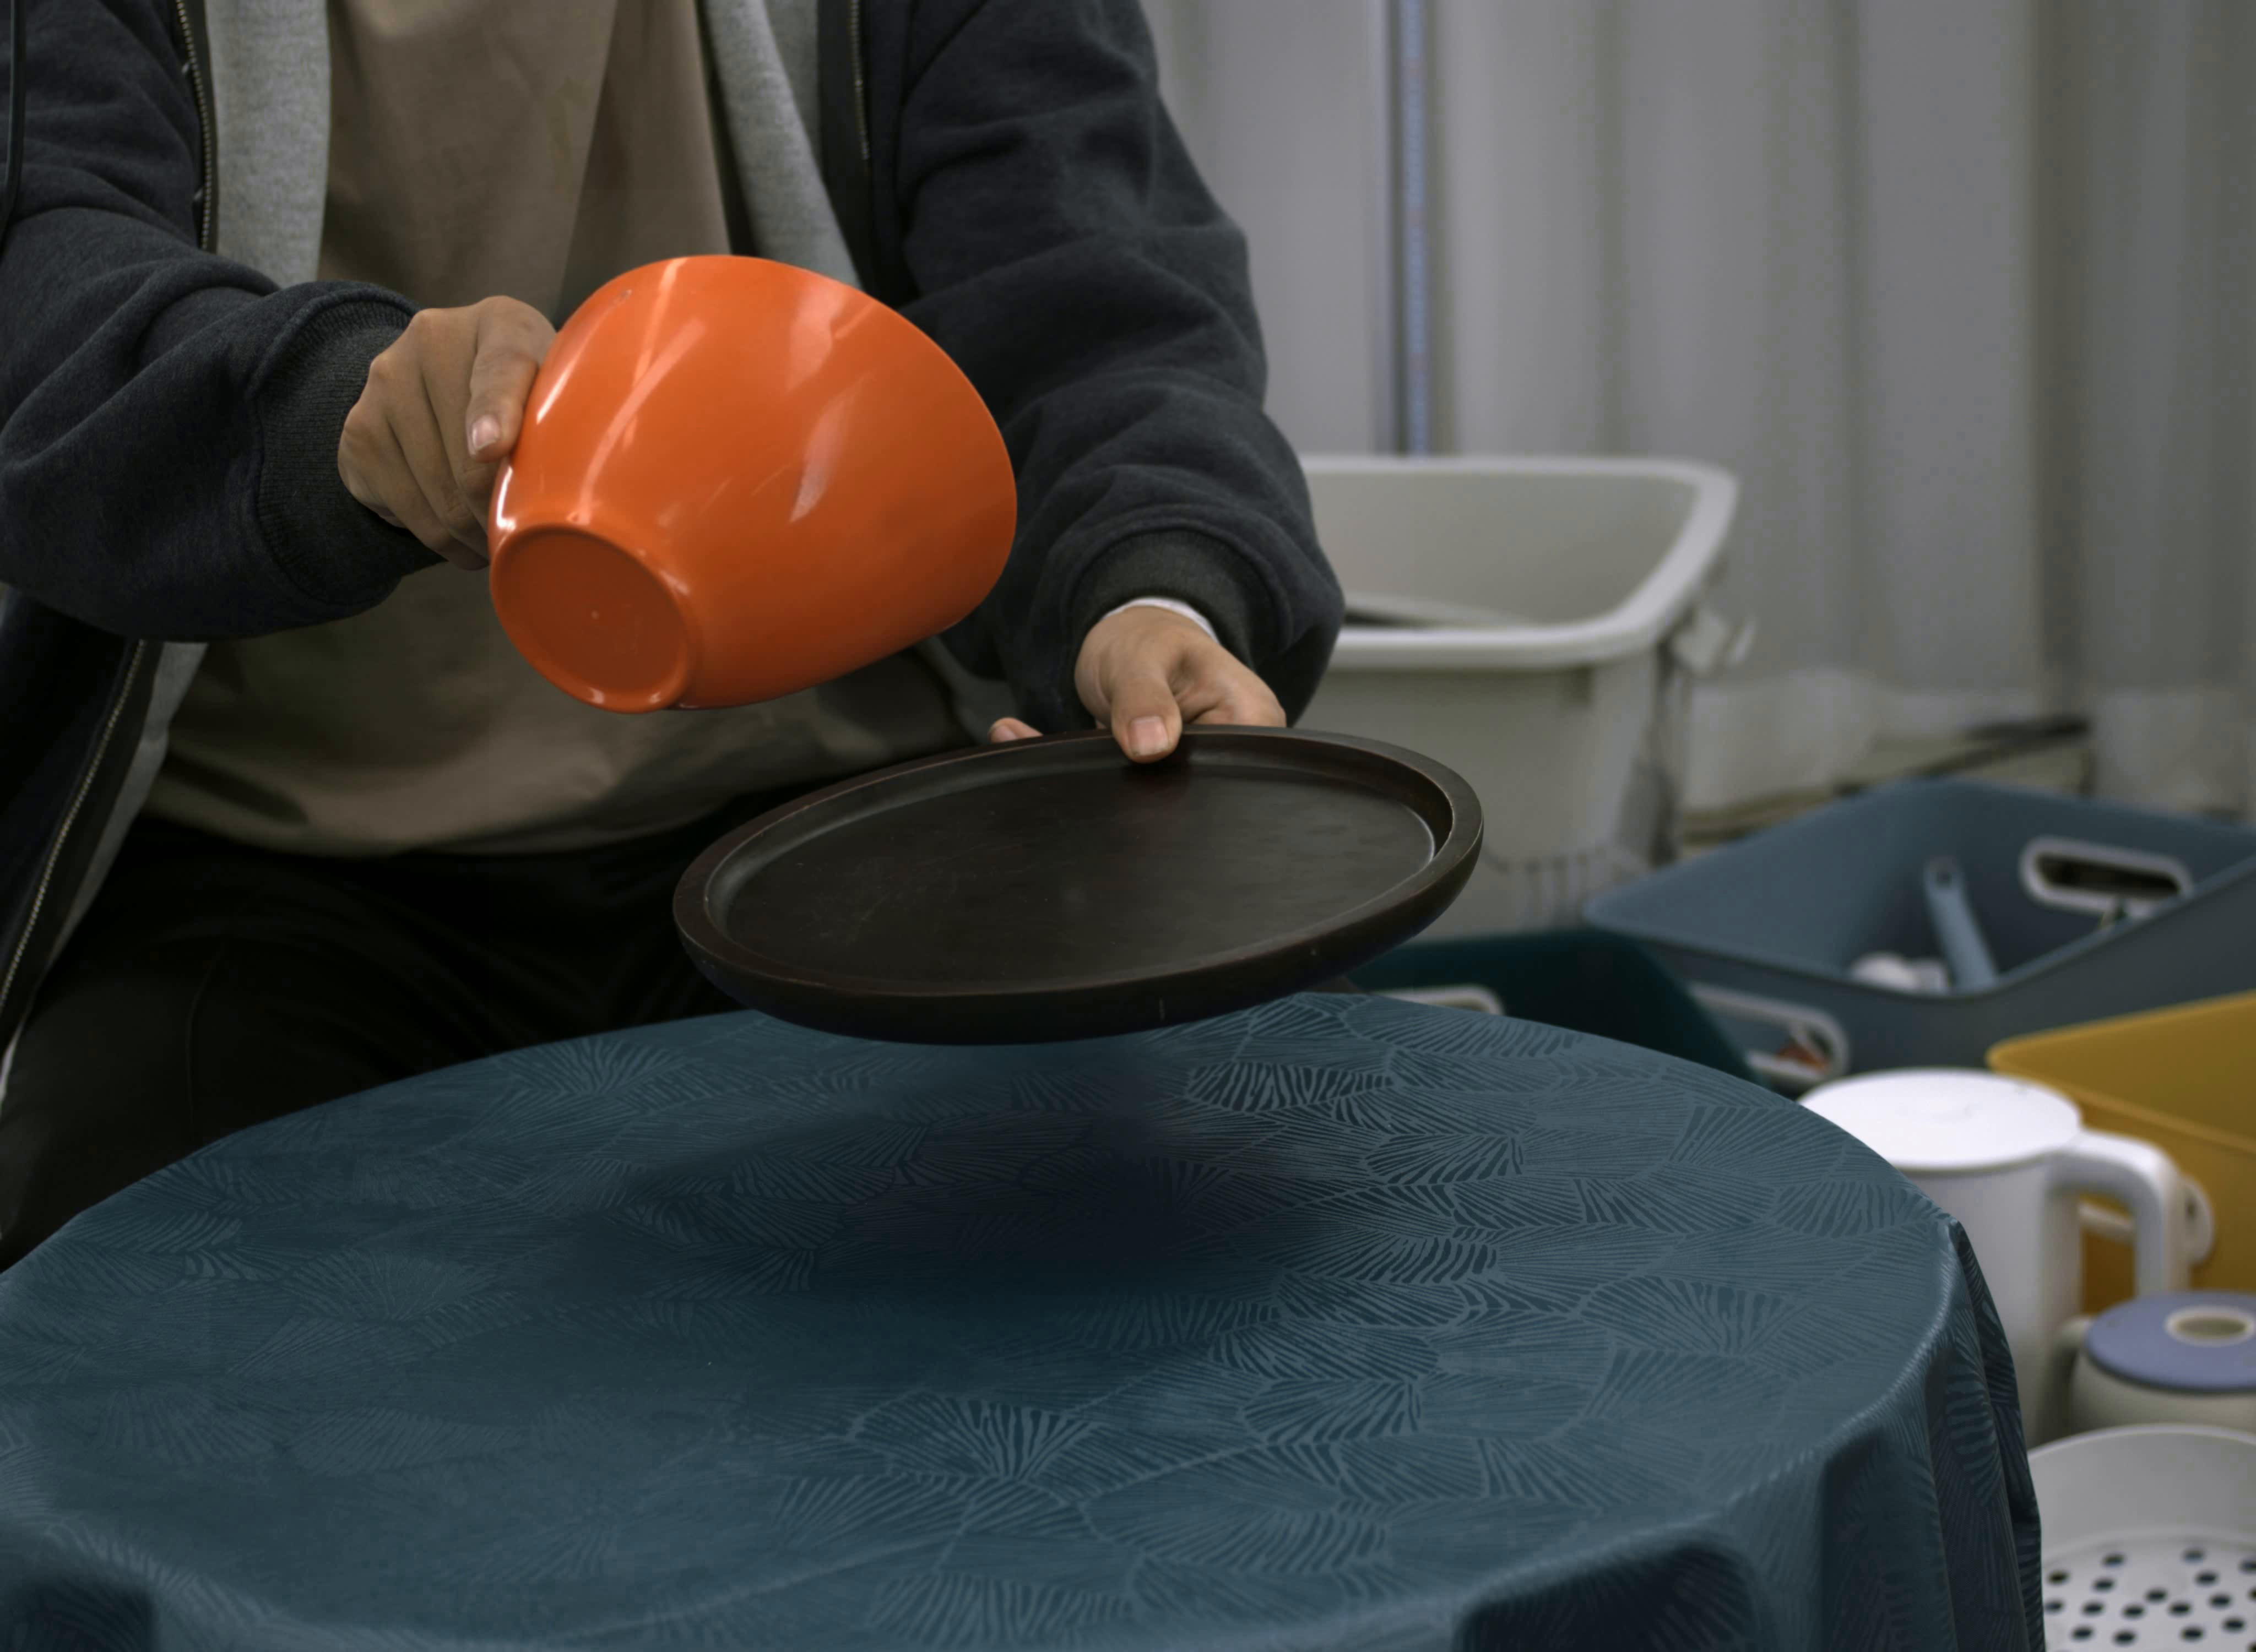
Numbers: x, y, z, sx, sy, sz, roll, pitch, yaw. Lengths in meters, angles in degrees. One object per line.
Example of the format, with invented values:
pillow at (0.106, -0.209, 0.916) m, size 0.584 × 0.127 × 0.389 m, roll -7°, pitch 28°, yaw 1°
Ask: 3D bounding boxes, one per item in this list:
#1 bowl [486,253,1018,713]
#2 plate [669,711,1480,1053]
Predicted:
bowl at (-0.121, -0.084, 1.589) m, size 0.148 × 0.146 × 0.105 m, roll 6°, pitch 39°, yaw 30°
plate at (-0.016, 0.017, 1.695) m, size 0.254 × 0.029 × 0.257 m, roll -7°, pitch 18°, yaw 2°
